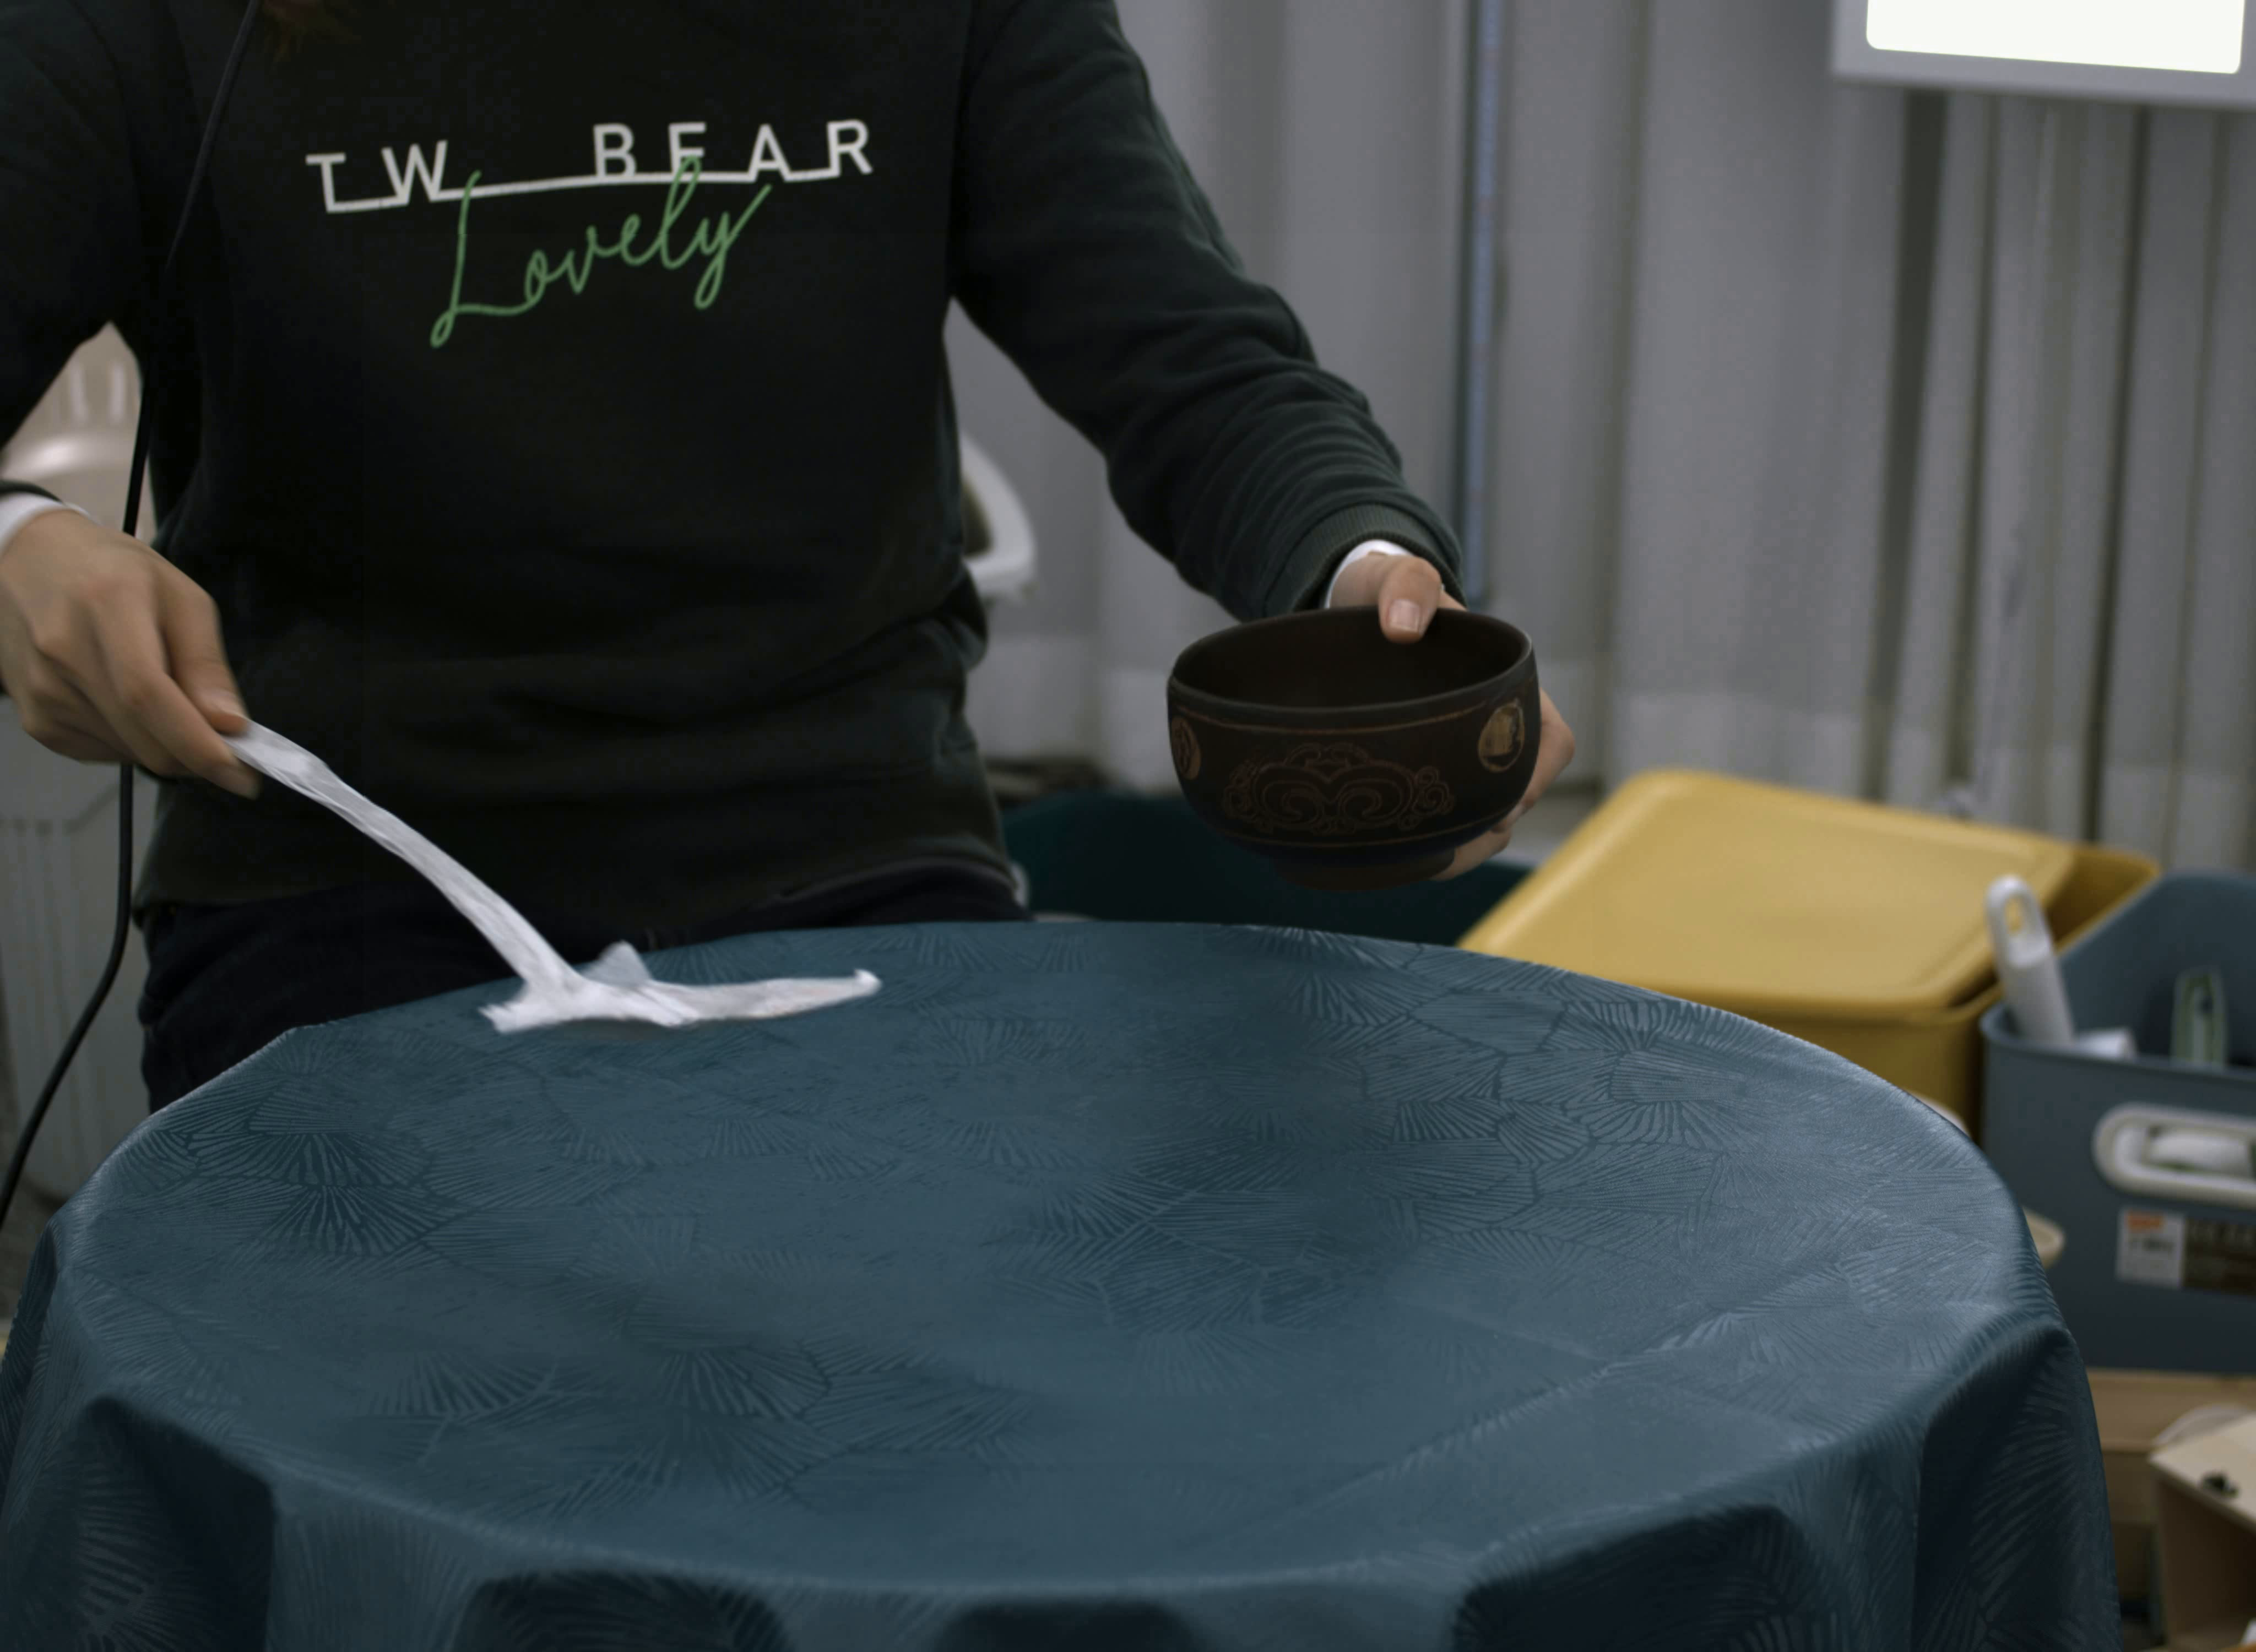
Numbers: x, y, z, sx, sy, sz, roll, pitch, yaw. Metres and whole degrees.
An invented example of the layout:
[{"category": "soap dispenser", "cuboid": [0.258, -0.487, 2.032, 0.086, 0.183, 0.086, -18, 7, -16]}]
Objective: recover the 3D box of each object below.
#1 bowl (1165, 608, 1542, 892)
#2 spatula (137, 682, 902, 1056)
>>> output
[{"category": "bowl", "cuboid": [0.071, -0.020, 1.649, 0.117, 0.070, 0.117, -2, 18, 1]}, {"category": "spatula", "cuboid": [-0.204, 0.004, 1.550, 0.099, 0.045, 0.359, -10, 28, -39]}]
